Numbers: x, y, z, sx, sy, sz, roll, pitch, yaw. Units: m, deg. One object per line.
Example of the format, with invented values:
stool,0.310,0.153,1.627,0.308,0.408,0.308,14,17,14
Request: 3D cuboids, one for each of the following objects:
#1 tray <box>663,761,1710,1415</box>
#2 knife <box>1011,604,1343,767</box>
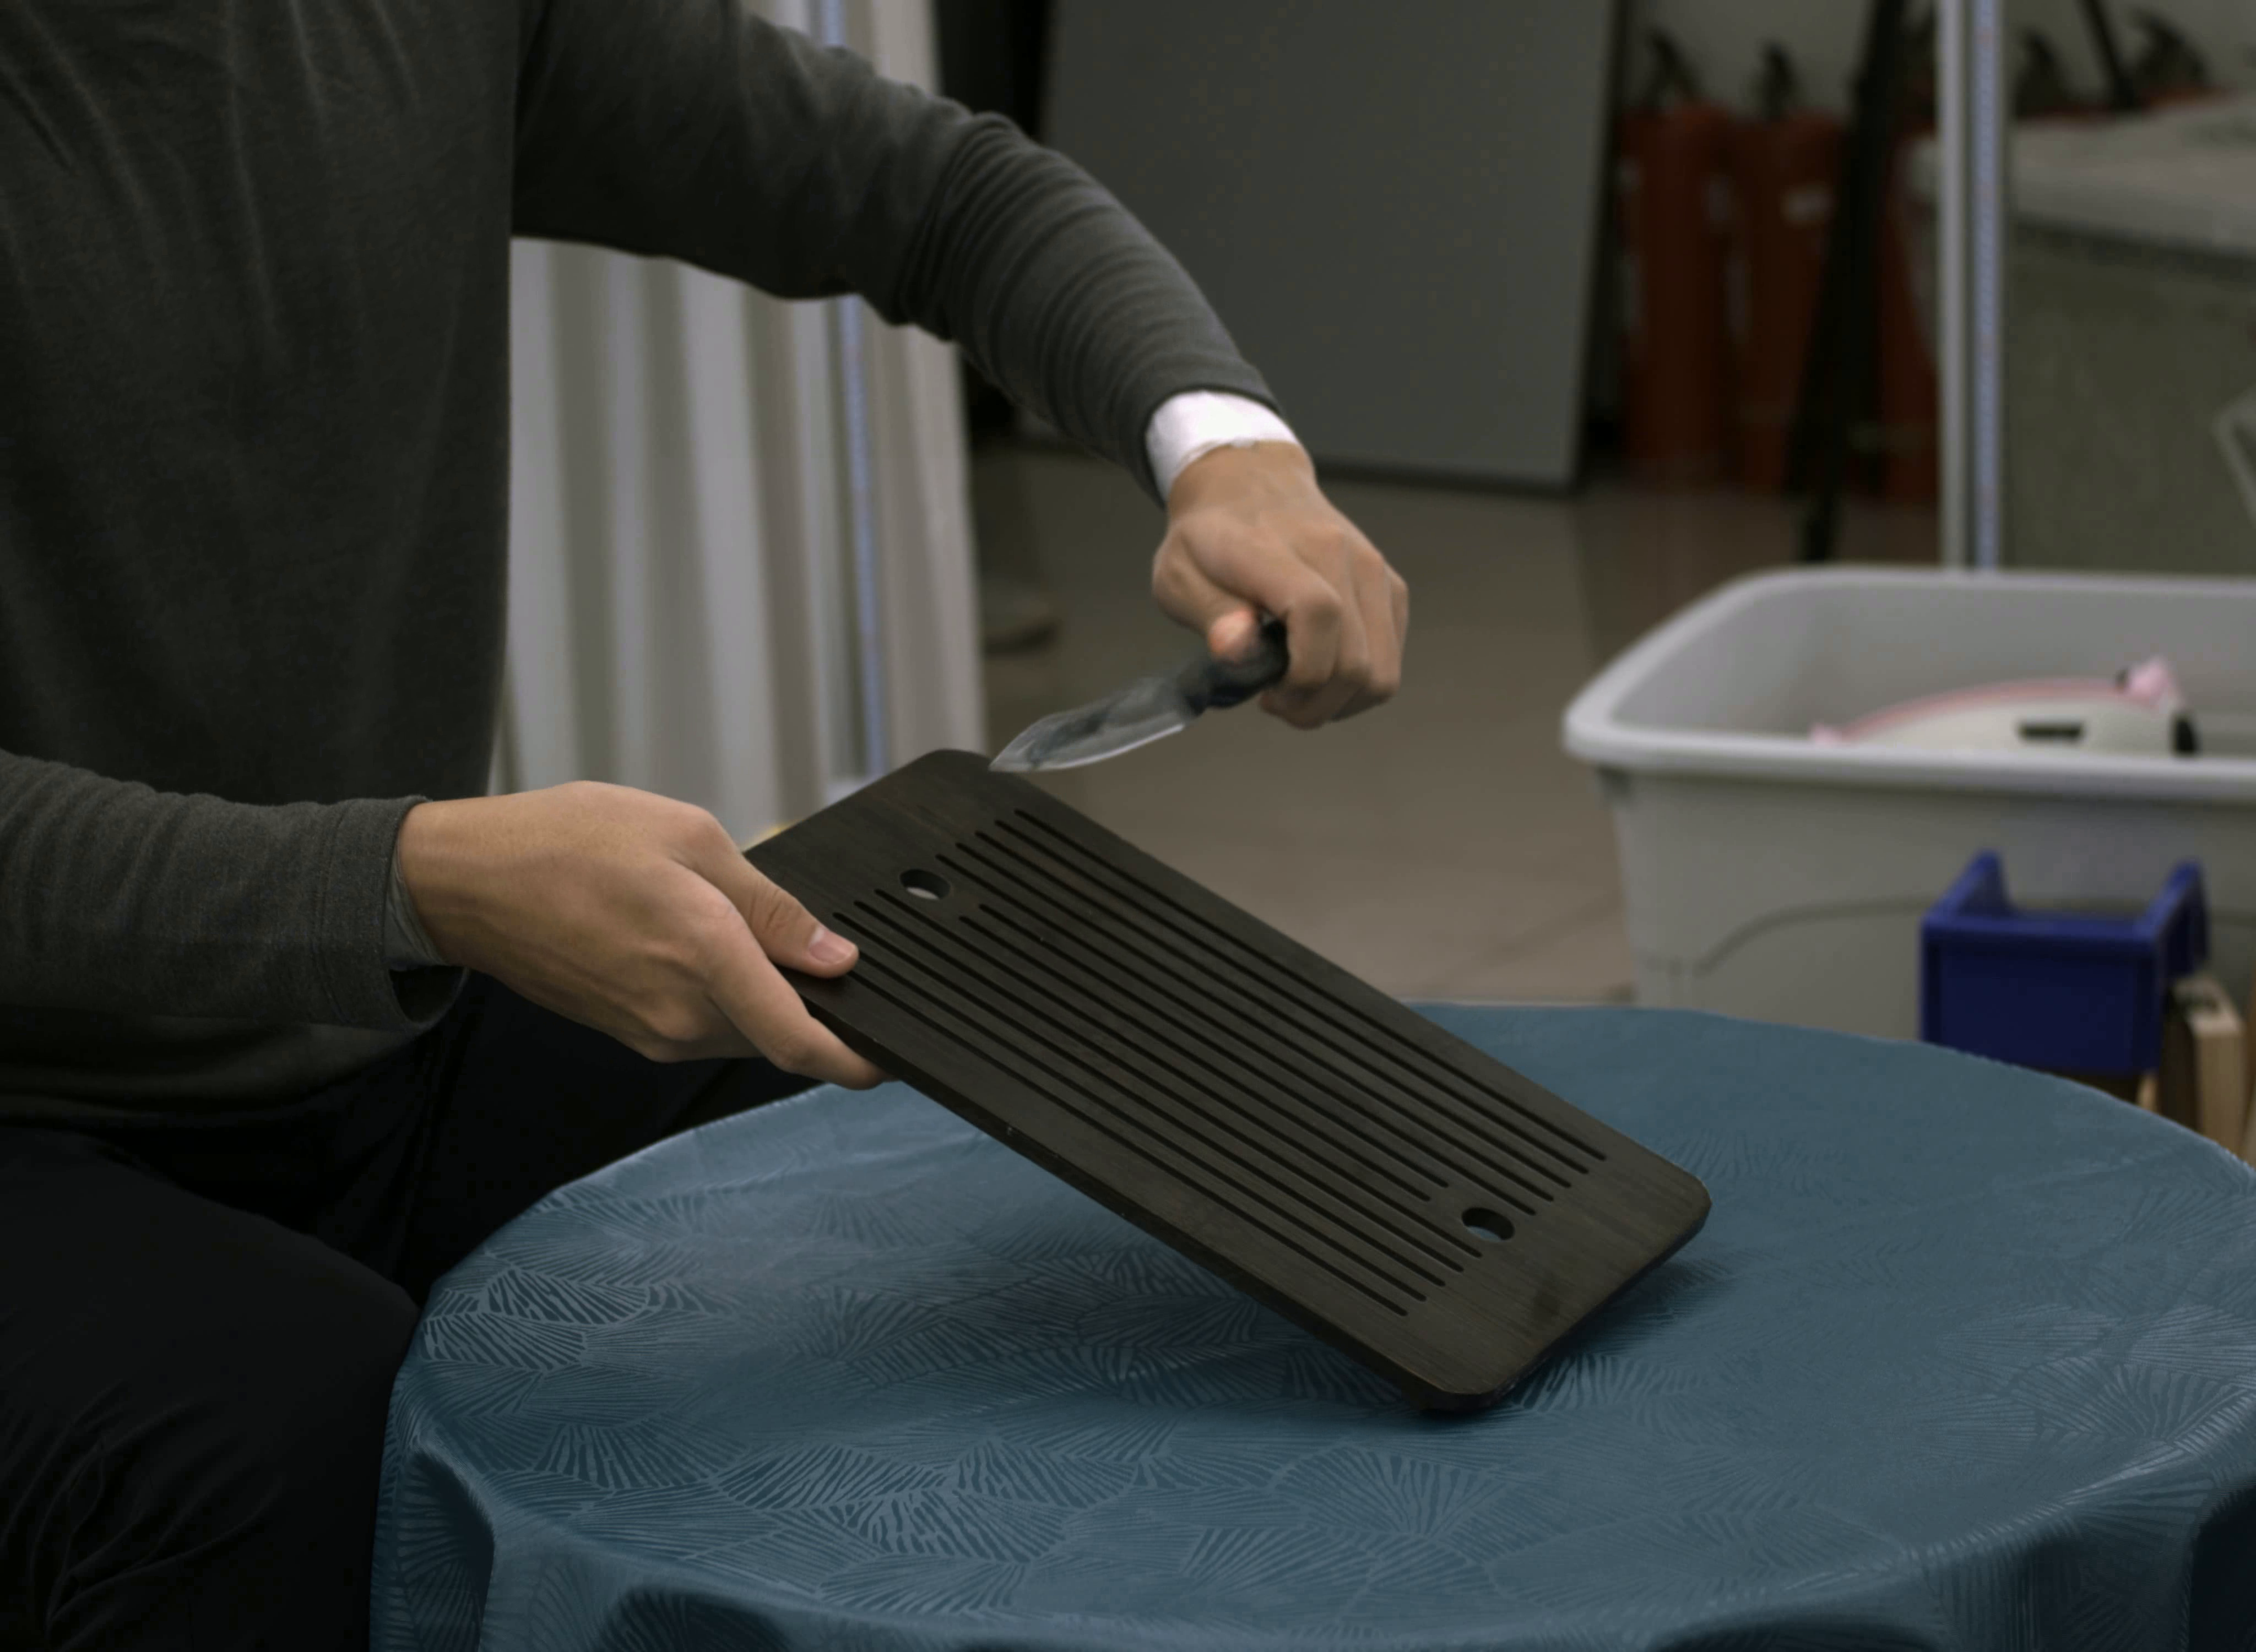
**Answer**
tray,0.017,0.077,1.656,0.307,0.019,0.167,30,32,22
knife,0.015,-0.047,1.798,0.016,0.024,0.235,-36,-6,29
